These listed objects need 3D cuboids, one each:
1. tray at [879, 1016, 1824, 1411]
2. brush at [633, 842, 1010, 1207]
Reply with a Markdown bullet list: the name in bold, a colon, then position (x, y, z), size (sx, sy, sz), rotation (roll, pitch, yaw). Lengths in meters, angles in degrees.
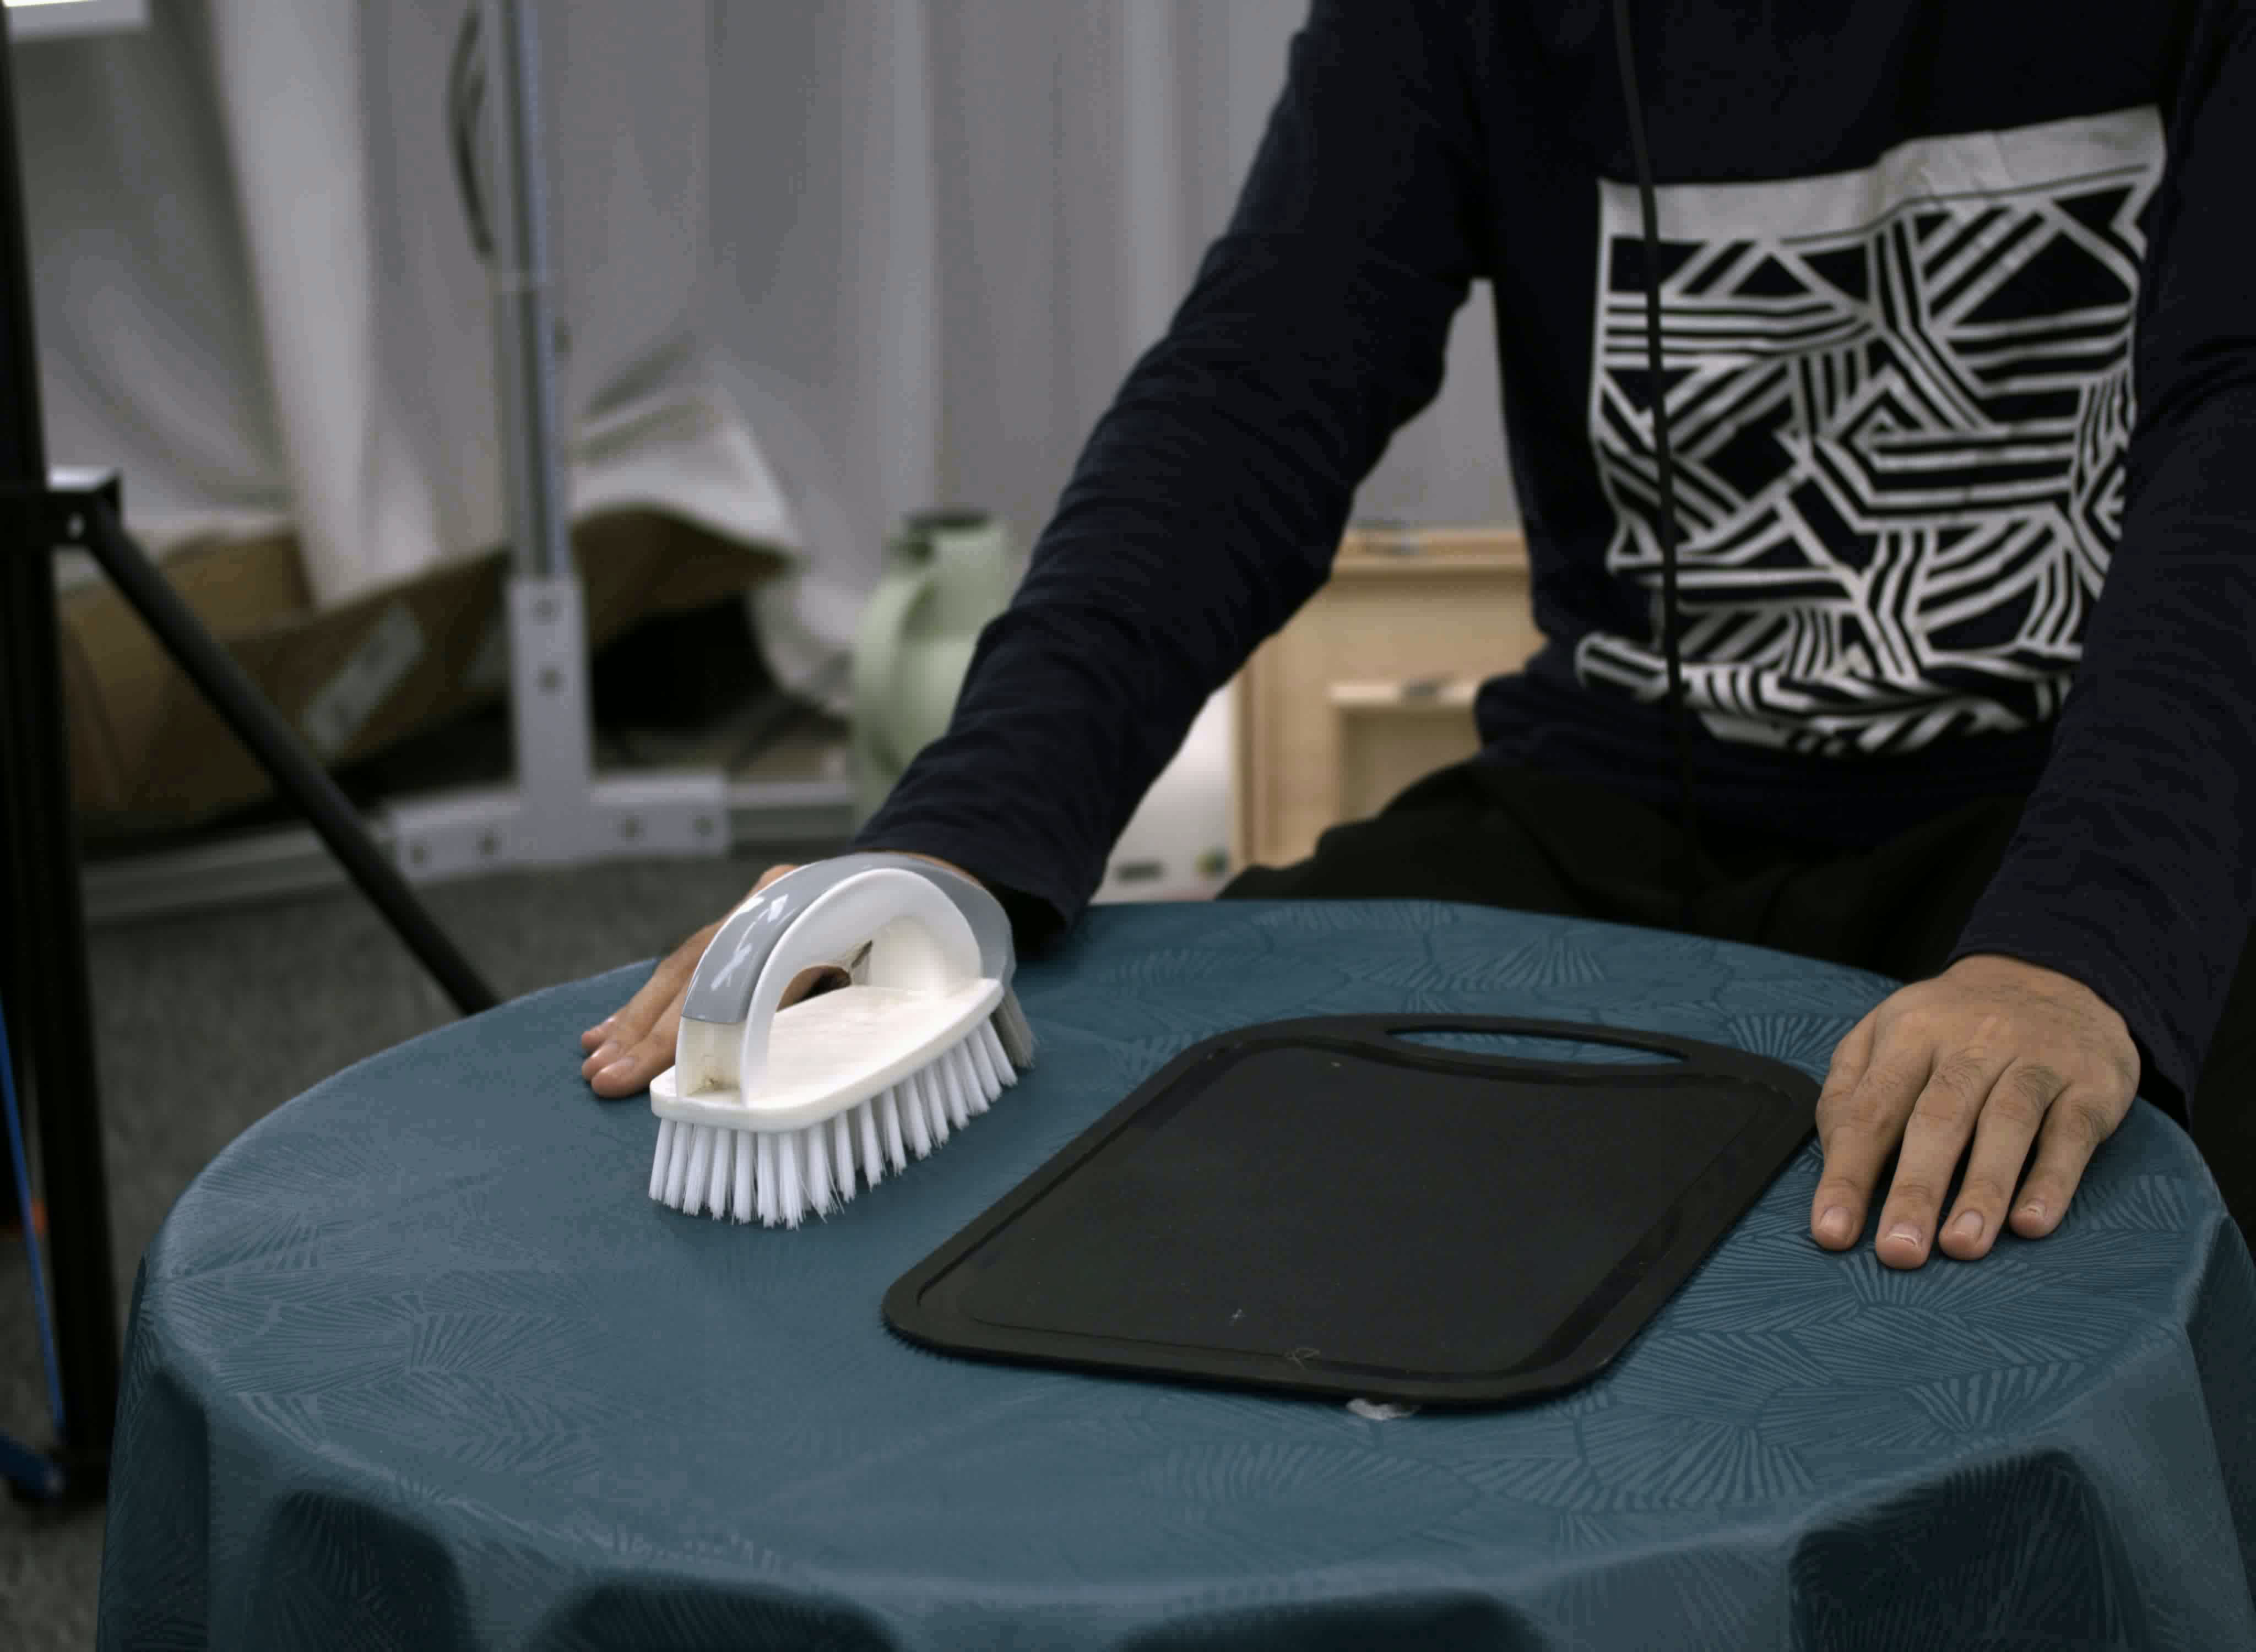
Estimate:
- **tray**: position (0.074, 0.104, 1.549), size (0.214, 0.010, 0.321), rotation (5, 17, 23)
- **brush**: position (-0.083, 0.049, 1.613), size (0.062, 0.094, 0.172), rotation (8, 16, 30)
